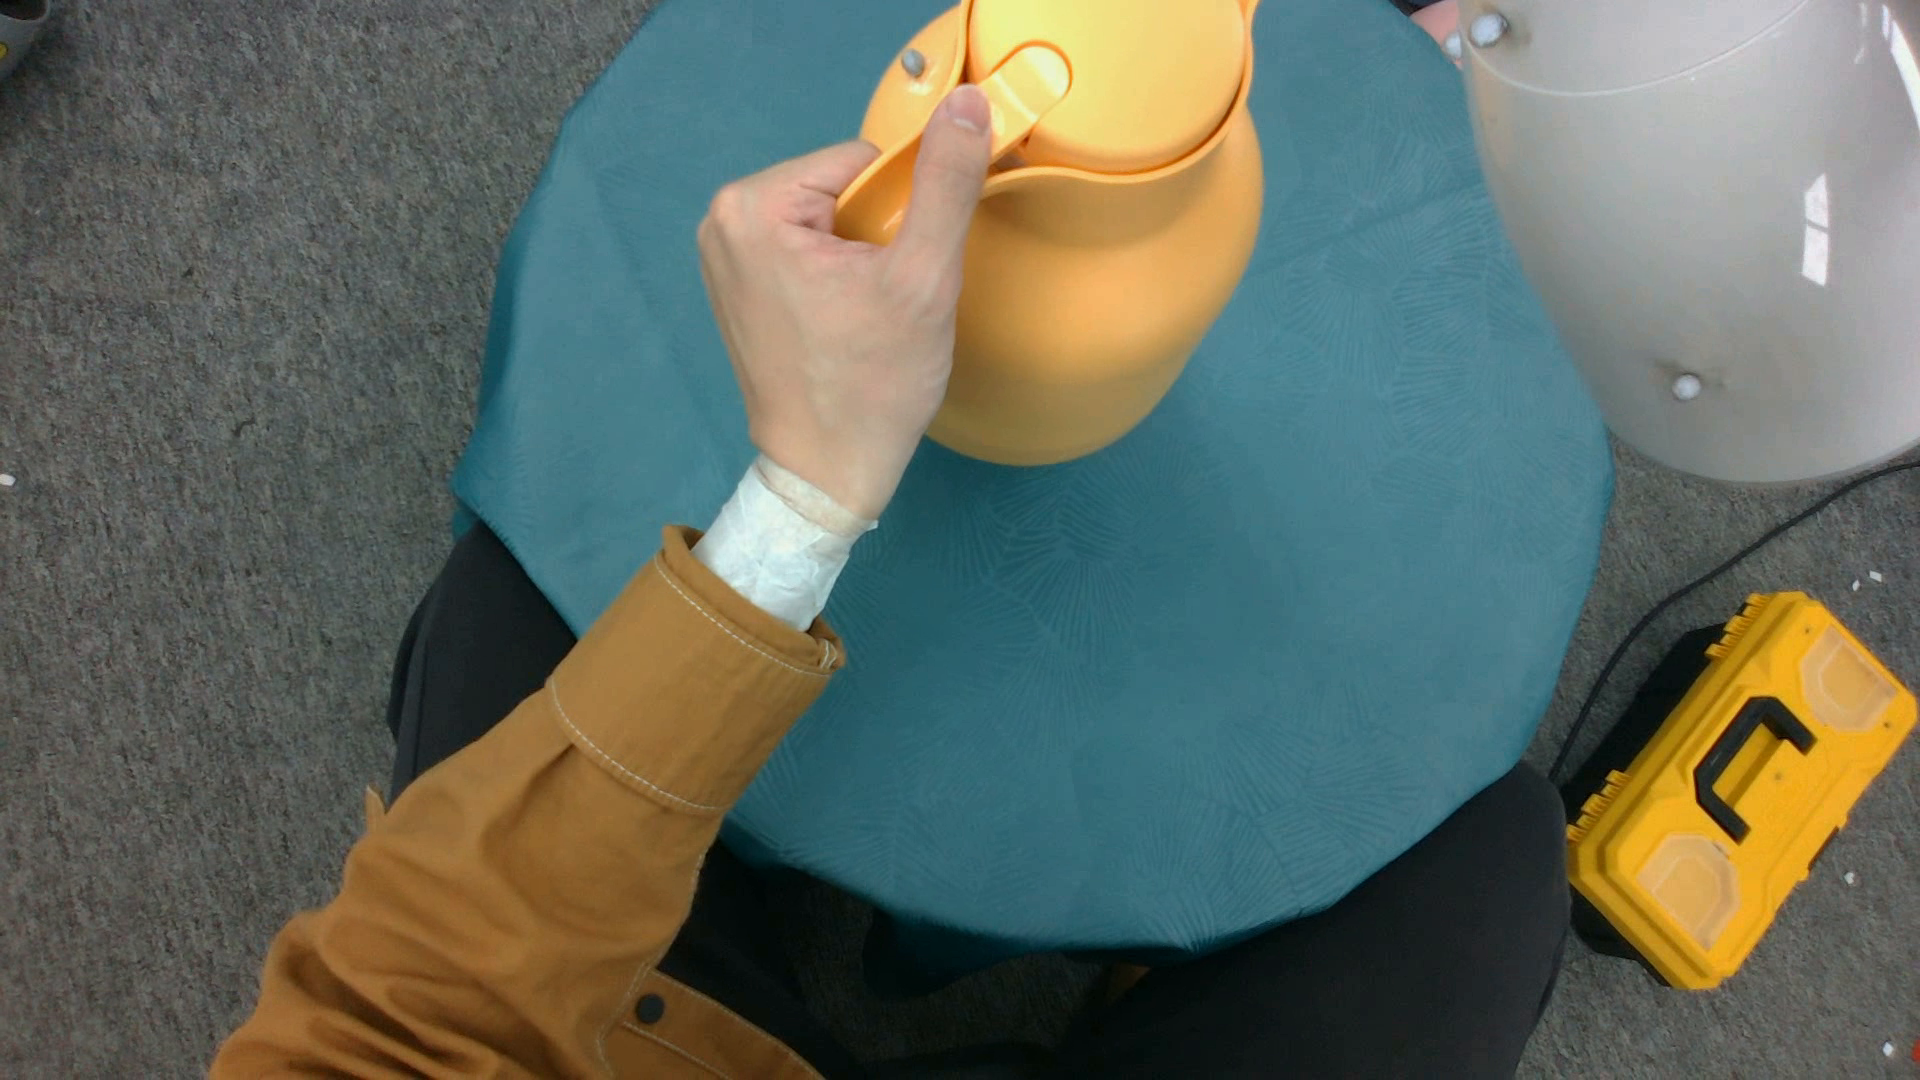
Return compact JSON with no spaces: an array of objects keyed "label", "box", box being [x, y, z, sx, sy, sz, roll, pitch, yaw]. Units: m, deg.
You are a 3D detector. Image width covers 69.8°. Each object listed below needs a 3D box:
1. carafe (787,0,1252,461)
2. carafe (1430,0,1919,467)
[{"label":"carafe","box":[0.017,-0.128,0.552,0.203,0.259,0.163,-36,82,-14]},{"label":"carafe","box":[0.221,-0.135,0.384,0.248,0.167,0.133,35,64,-43]}]
